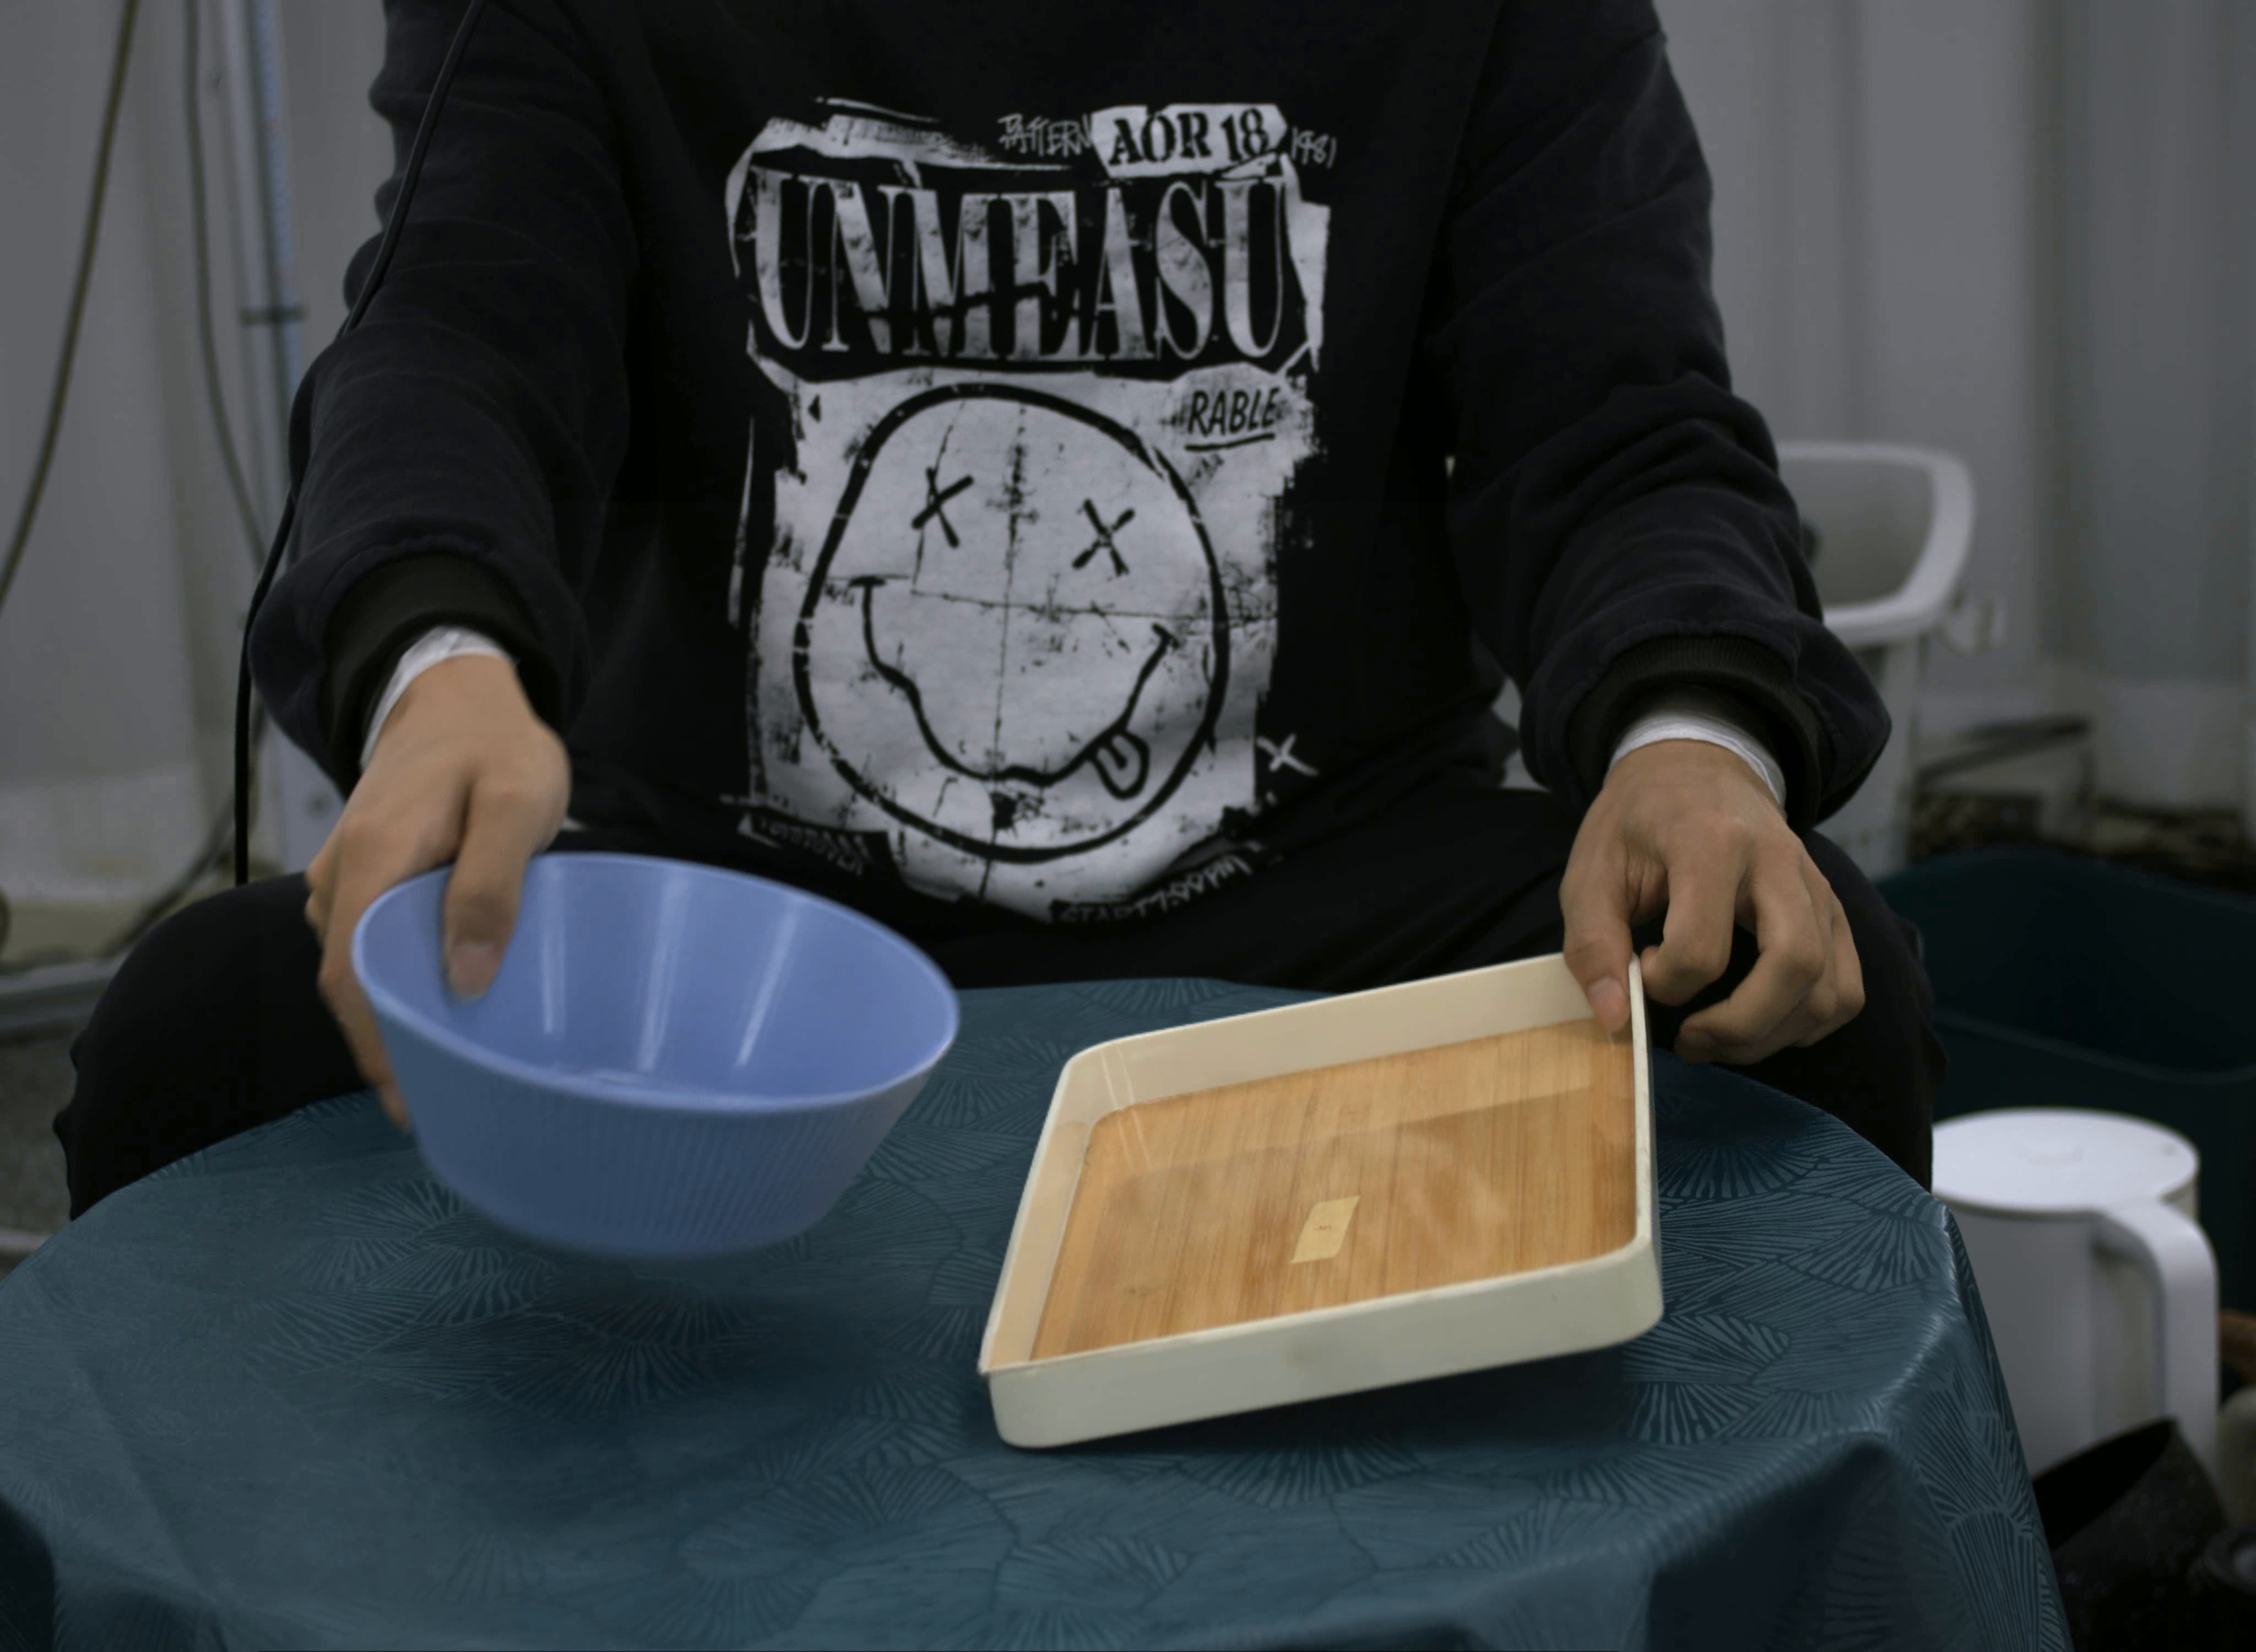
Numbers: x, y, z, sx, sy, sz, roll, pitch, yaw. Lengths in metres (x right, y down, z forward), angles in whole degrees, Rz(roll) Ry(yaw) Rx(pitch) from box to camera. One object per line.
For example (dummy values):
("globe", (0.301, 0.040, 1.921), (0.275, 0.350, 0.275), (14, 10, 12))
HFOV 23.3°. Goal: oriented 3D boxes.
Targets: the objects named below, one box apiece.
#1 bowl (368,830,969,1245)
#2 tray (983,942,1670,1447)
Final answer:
("bowl", (-0.137, 0.066, 1.584), (0.175, 0.070, 0.178), (10, 21, -4))
("tray", (0.064, 0.105, 1.626), (0.191, 0.027, 0.302), (-11, 14, 8))
